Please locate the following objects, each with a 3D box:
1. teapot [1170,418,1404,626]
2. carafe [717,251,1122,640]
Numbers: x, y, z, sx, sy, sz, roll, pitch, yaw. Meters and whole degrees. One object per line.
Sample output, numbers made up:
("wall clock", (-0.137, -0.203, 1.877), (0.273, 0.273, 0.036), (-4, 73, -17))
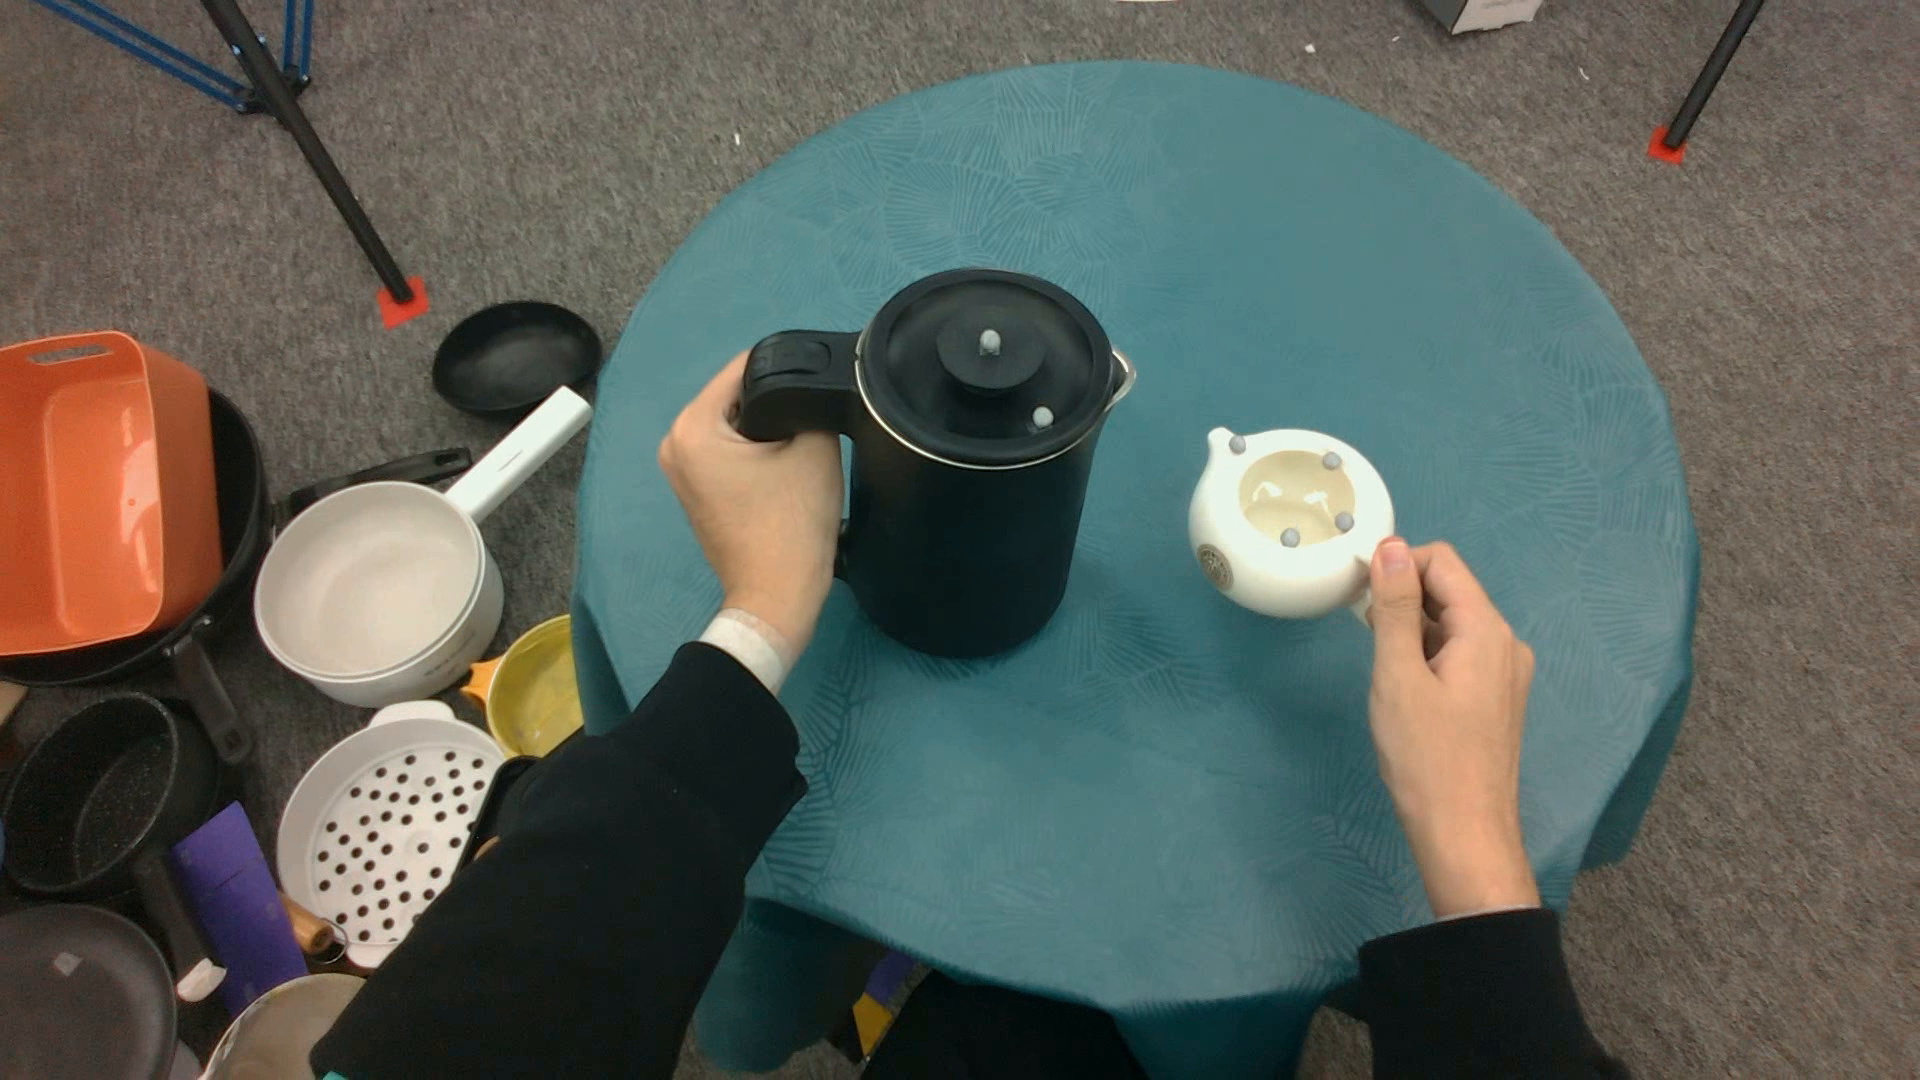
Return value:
("teapot", (0.154, -0.007, 0.642), (0.127, 0.056, 0.094), (37, 65, 21))
("carafe", (-0.025, -0.042, 0.633), (0.172, 0.172, 0.115), (3, 59, -6))
